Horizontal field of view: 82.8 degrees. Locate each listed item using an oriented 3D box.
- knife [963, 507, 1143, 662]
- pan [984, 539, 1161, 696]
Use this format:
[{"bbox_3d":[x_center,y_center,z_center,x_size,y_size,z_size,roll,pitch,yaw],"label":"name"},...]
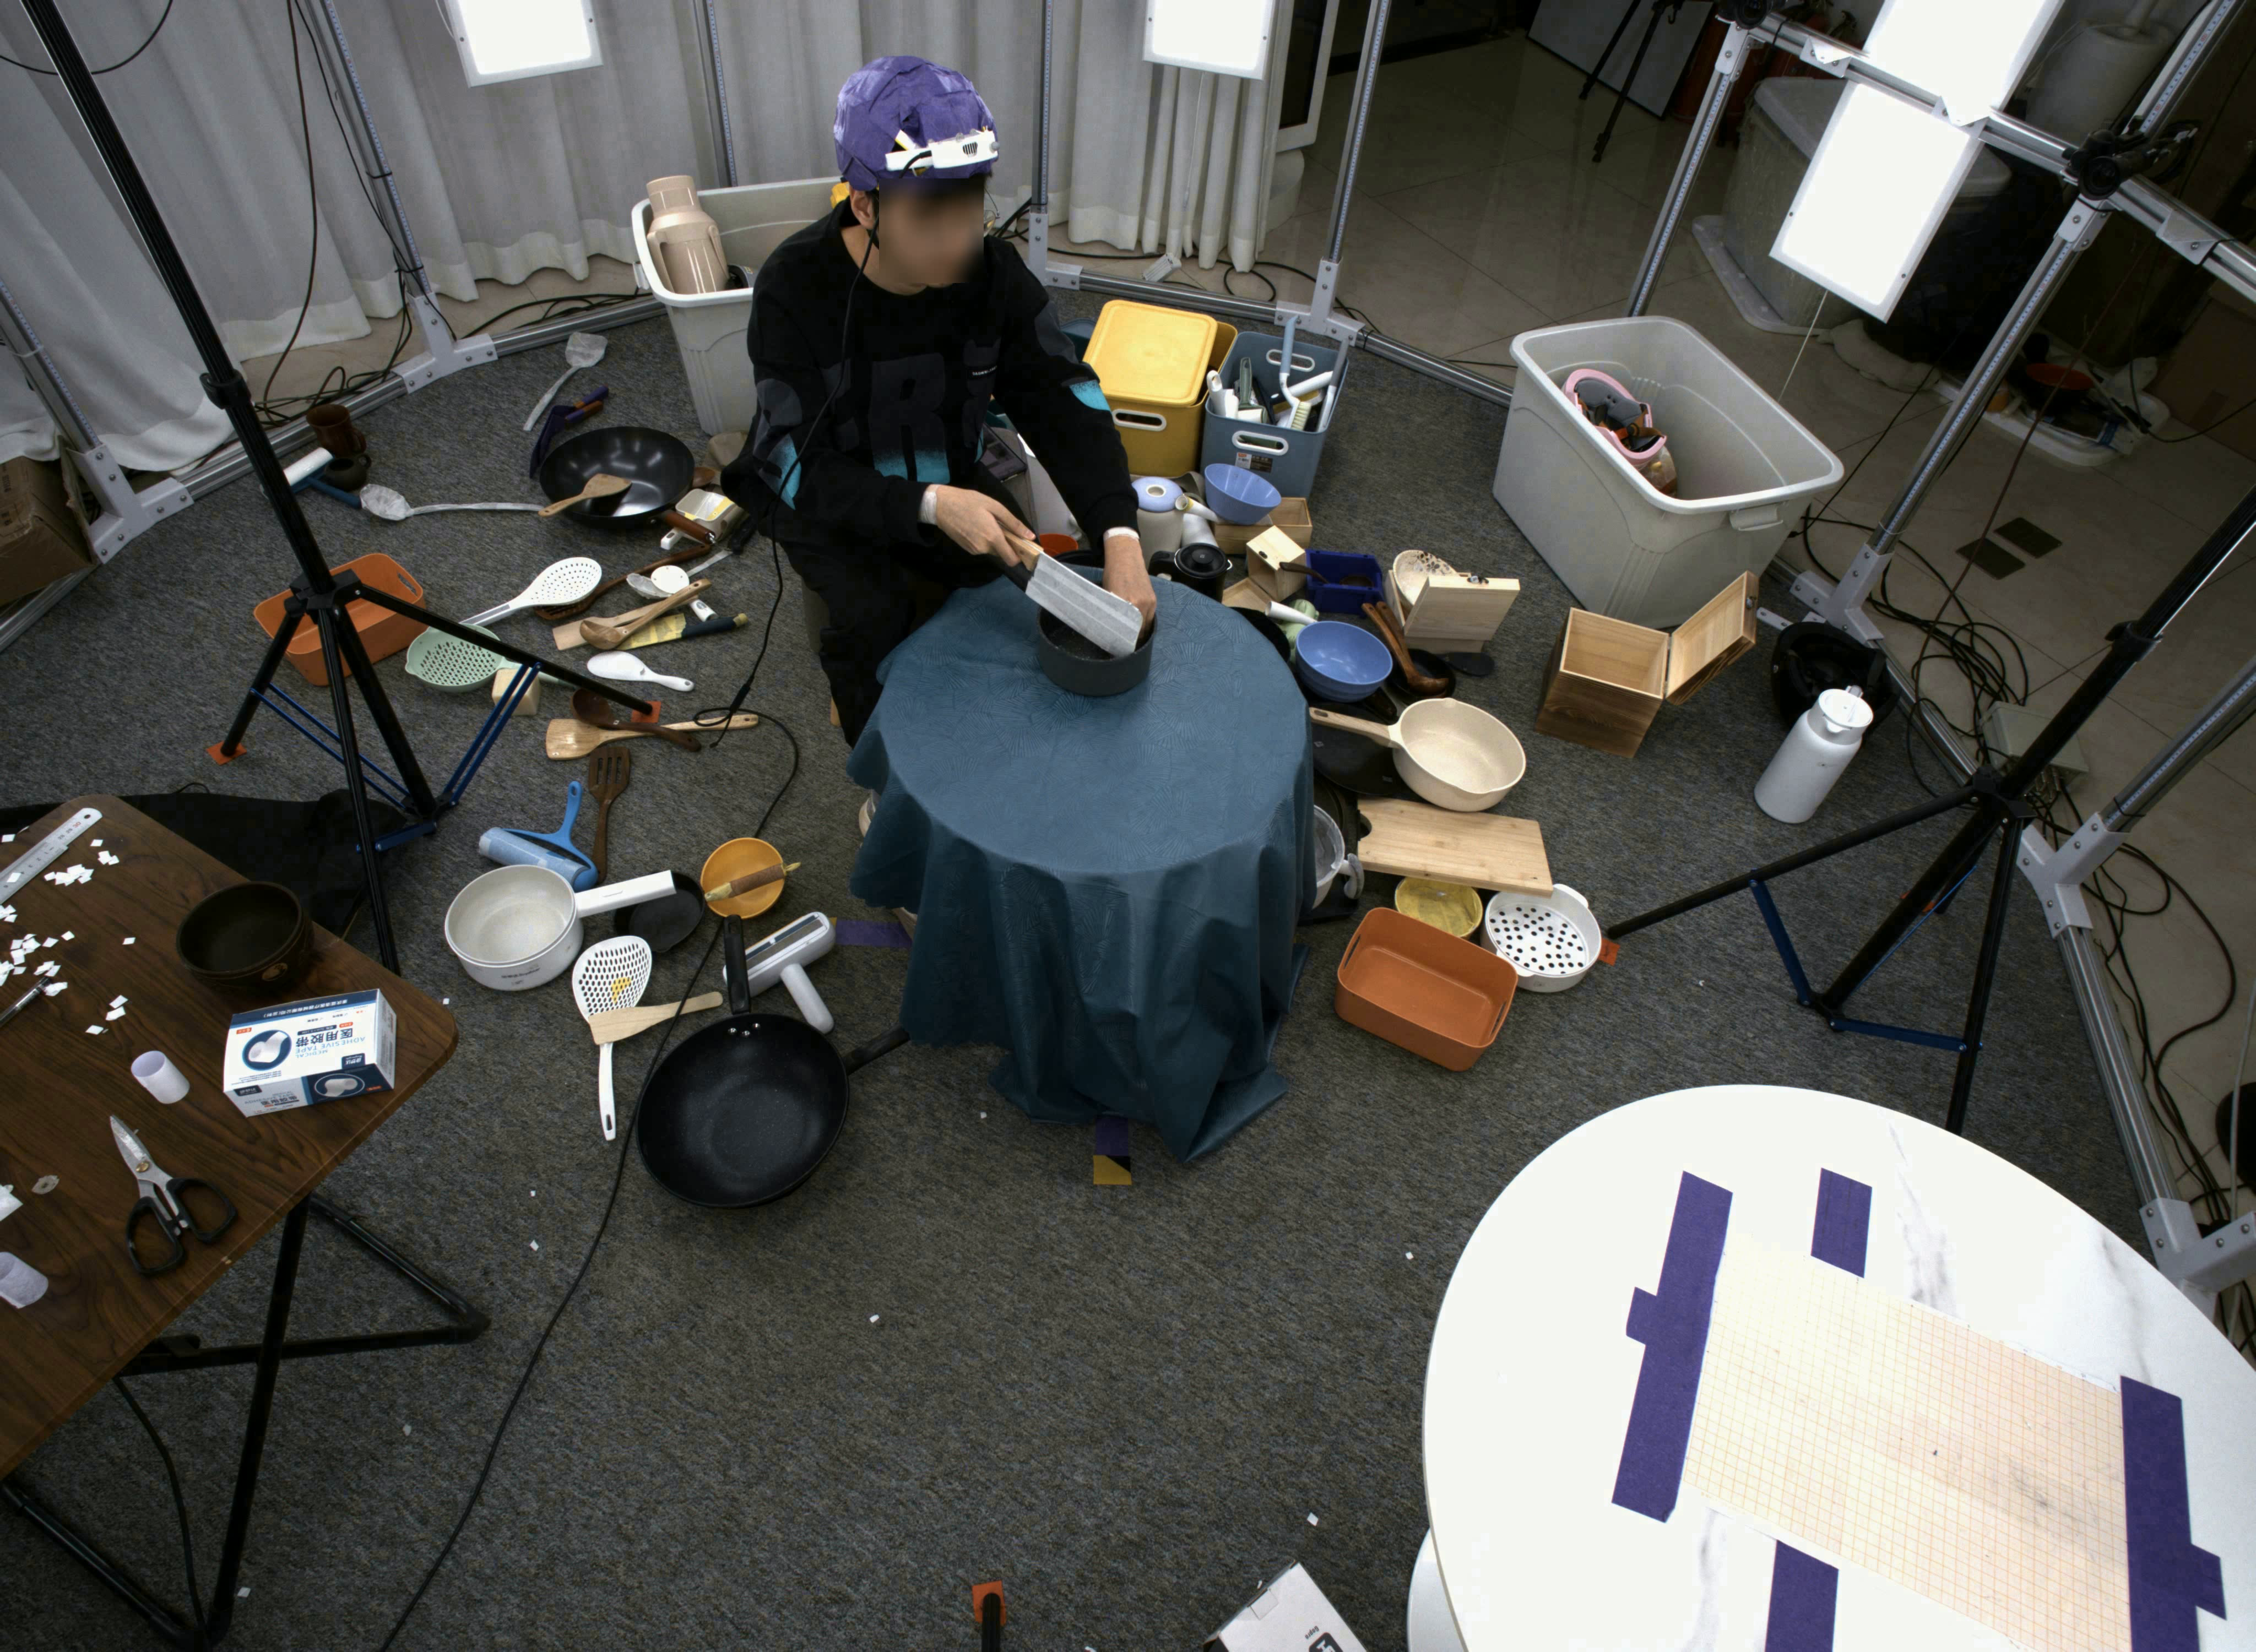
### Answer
[{"bbox_3d":[-0.104,-0.345,1.795,0.317,0.111,0.022,37,50,9],"label":"knife"},{"bbox_3d":[-0.096,-0.316,1.882,0.173,0.084,0.334,-33,59,-30],"label":"pan"}]
